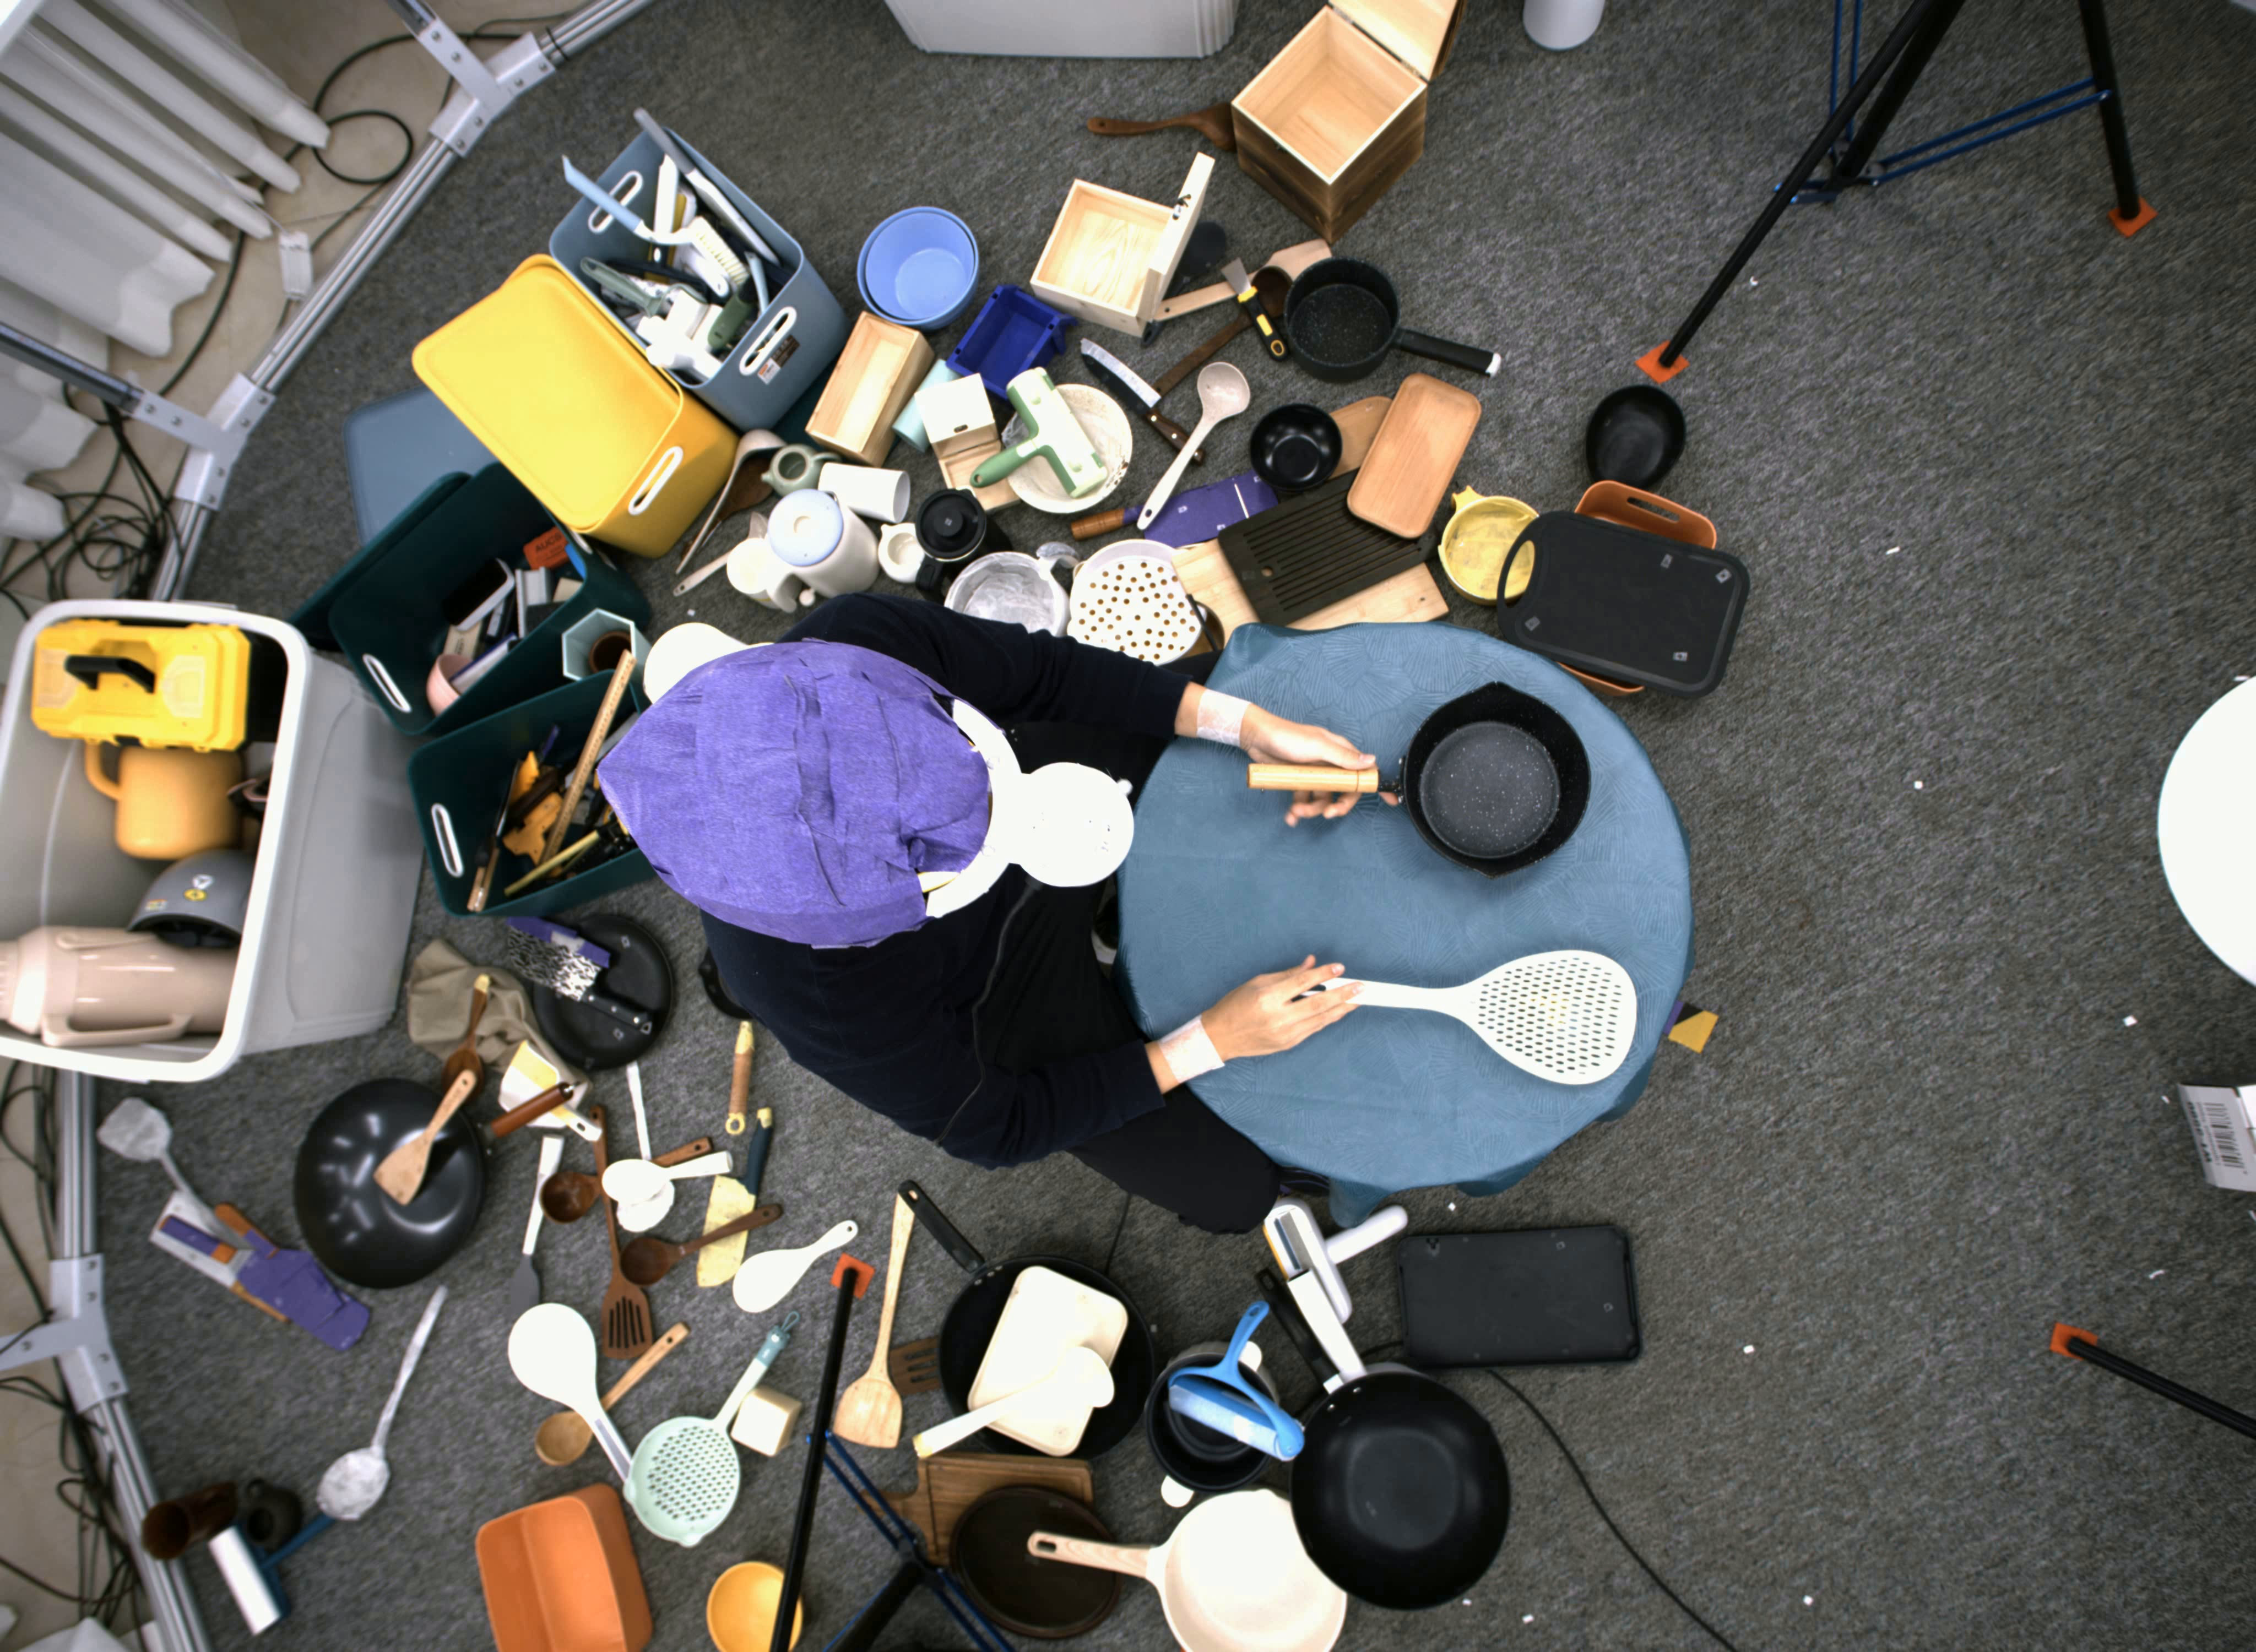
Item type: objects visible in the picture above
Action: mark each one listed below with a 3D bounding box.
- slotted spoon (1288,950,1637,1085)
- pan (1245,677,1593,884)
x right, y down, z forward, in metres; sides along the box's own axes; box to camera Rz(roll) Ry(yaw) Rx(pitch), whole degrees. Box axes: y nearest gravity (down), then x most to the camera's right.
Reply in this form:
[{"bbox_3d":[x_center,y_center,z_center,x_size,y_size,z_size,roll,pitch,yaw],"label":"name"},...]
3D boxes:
[{"bbox_3d":[0.338,0.179,1.399,0.348,0.050,0.137,5,96,-1],"label":"slotted spoon"},{"bbox_3d":[0.293,-0.045,1.407,0.344,0.108,0.207,0,87,9],"label":"pan"}]
